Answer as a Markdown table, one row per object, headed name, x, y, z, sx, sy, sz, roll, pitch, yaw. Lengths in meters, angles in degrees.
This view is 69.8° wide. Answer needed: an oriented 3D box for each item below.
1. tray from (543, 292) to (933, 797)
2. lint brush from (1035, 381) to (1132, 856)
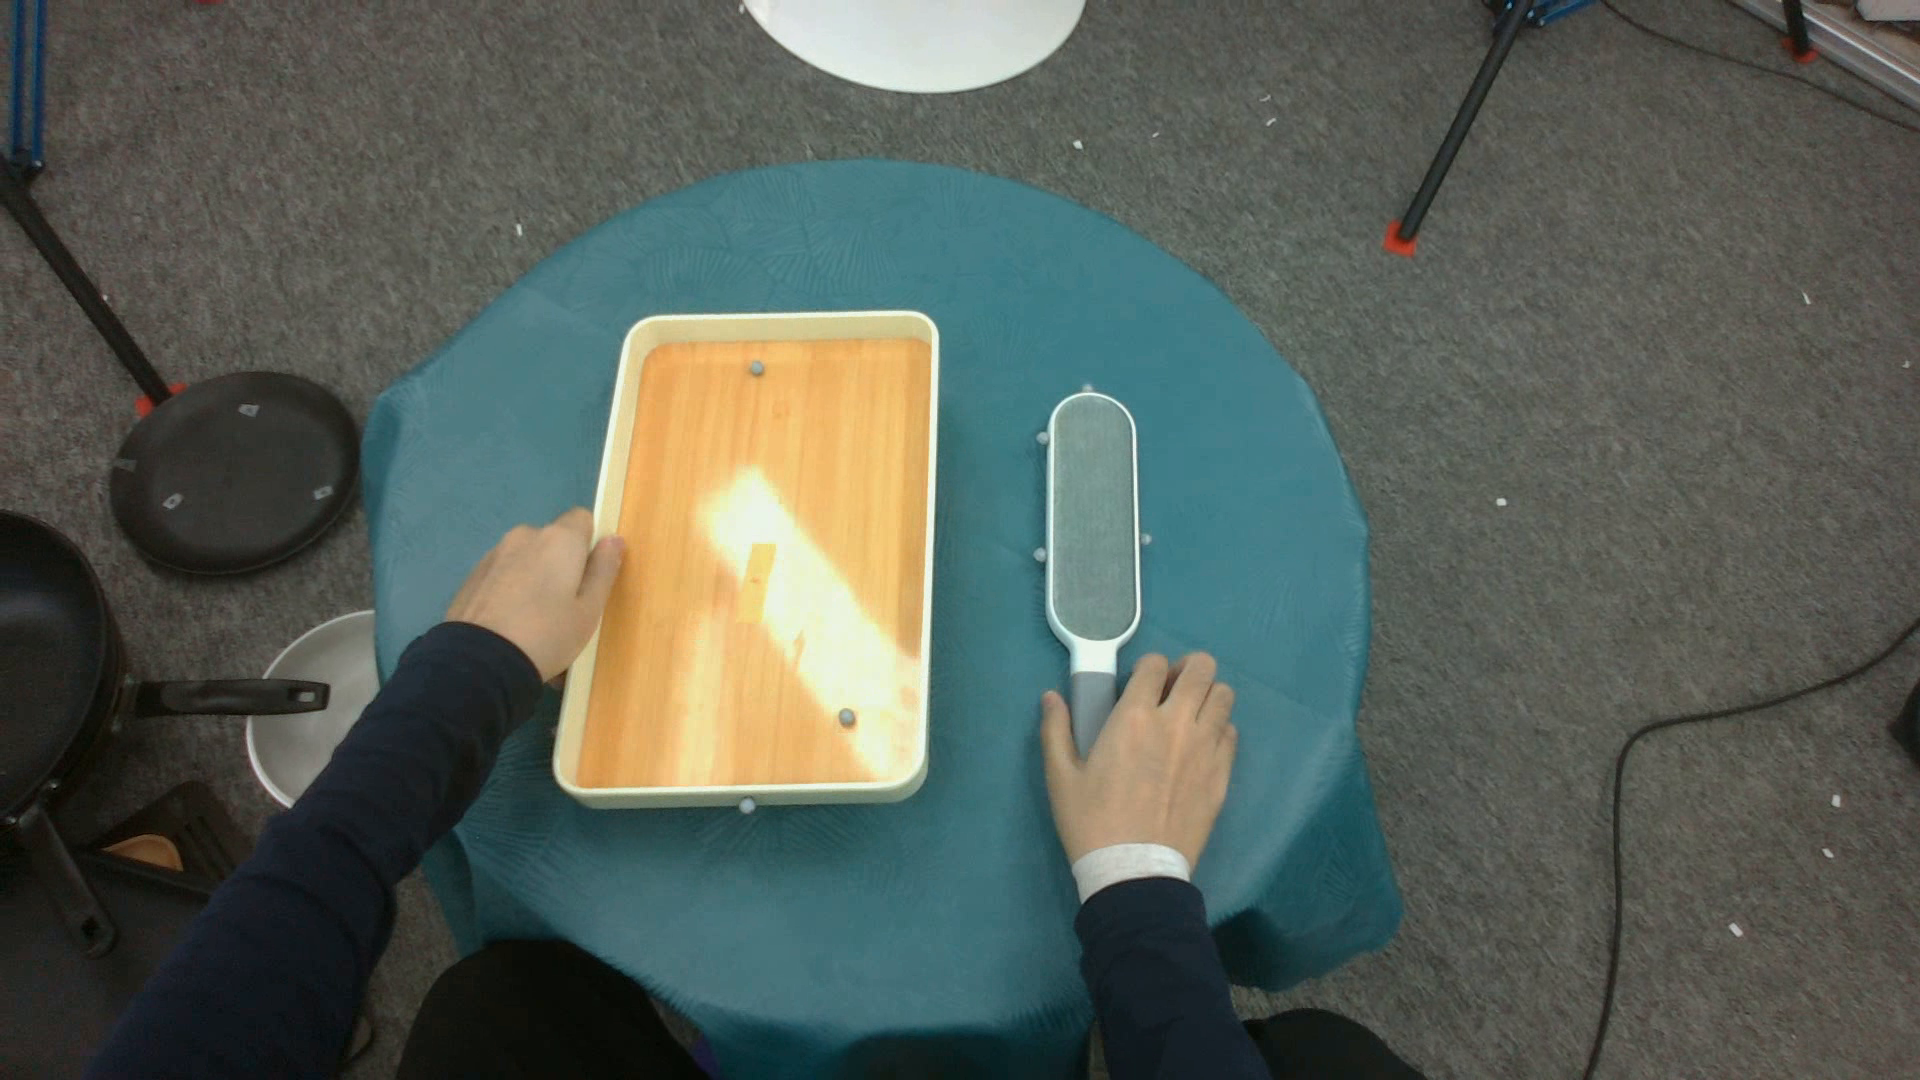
| name | x | y | z | sx | sy | sz | roll | pitch | yaw |
| --- | --- | --- | --- | --- | --- | --- | --- | --- | --- |
| tray | -0.113 | -0.007 | 0.761 | 0.191 | 0.027 | 0.301 | -2 | 61 | 6 |
| lint brush | 0.072 | 0.034 | 0.811 | 0.060 | 0.021 | 0.310 | 8 | 60 | -9 |
